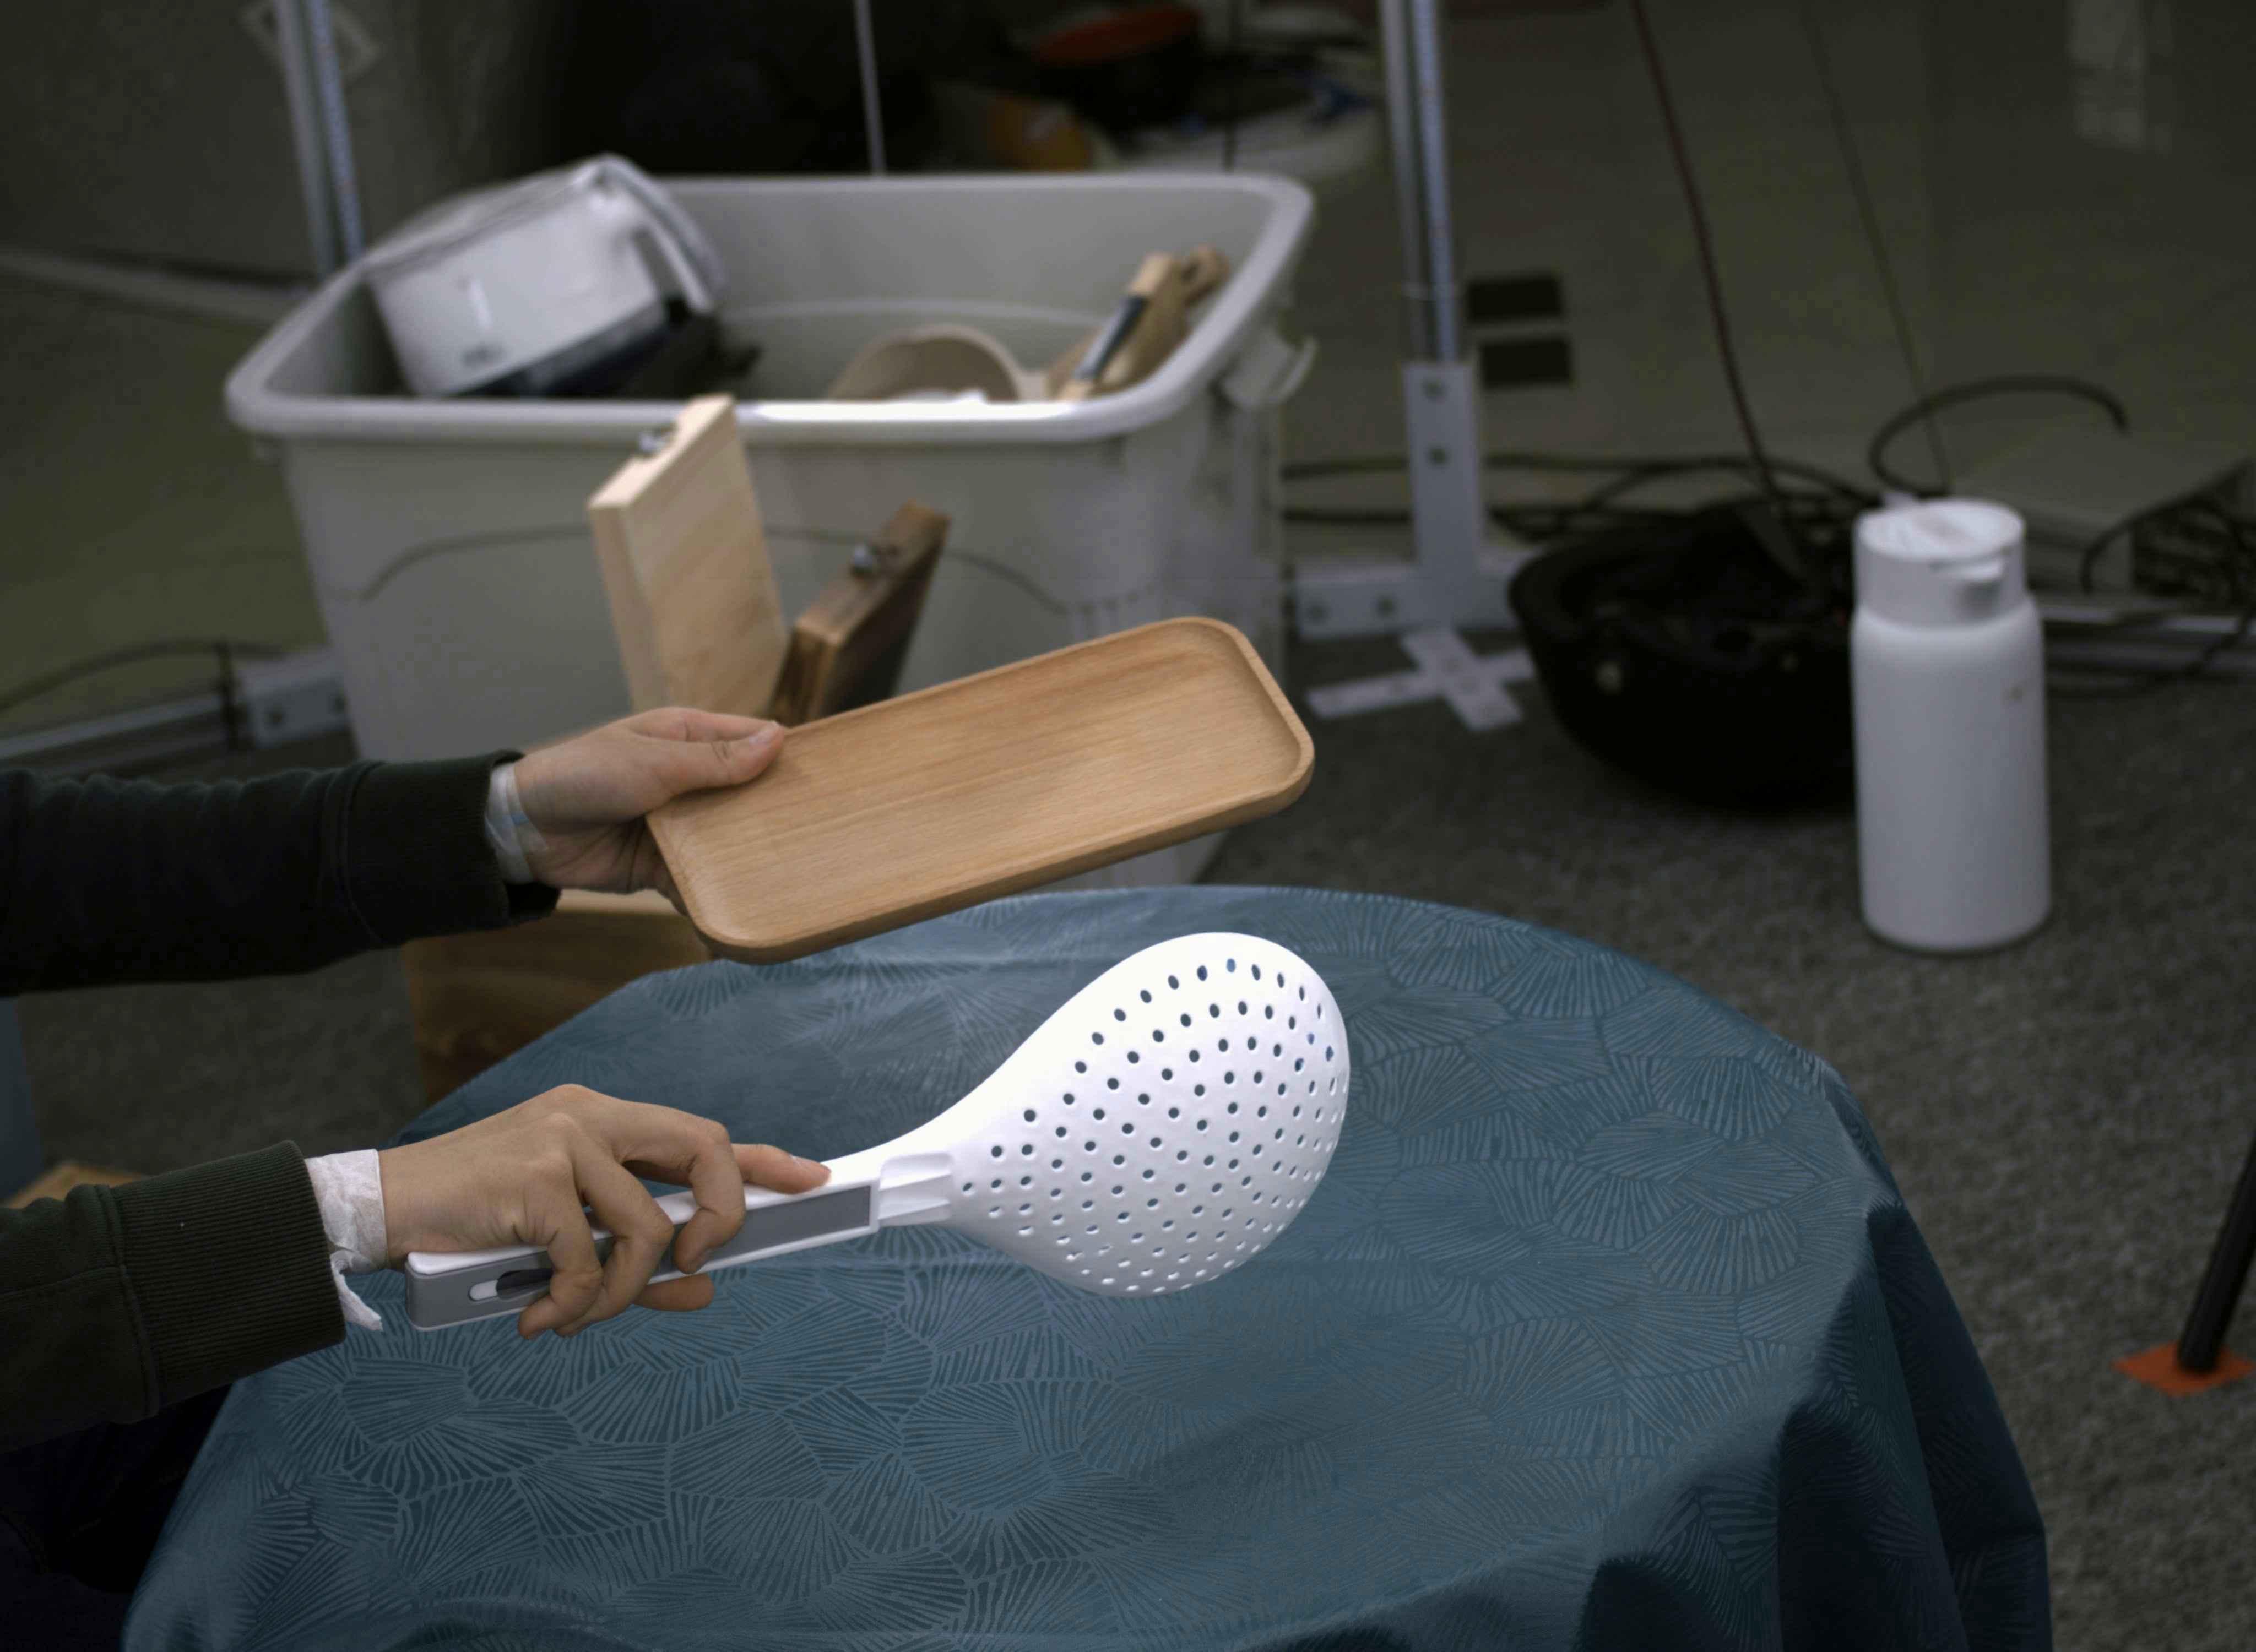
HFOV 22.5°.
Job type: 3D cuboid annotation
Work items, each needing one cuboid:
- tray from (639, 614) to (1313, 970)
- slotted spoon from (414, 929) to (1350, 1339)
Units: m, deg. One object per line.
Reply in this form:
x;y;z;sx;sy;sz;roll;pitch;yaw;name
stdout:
-0.059;-0.013;2.188;0.250;0.023;0.128;-17;38;-10;tray
-0.074;0.119;1.885;0.348;0.138;0.045;-9;26;-23;slotted spoon
